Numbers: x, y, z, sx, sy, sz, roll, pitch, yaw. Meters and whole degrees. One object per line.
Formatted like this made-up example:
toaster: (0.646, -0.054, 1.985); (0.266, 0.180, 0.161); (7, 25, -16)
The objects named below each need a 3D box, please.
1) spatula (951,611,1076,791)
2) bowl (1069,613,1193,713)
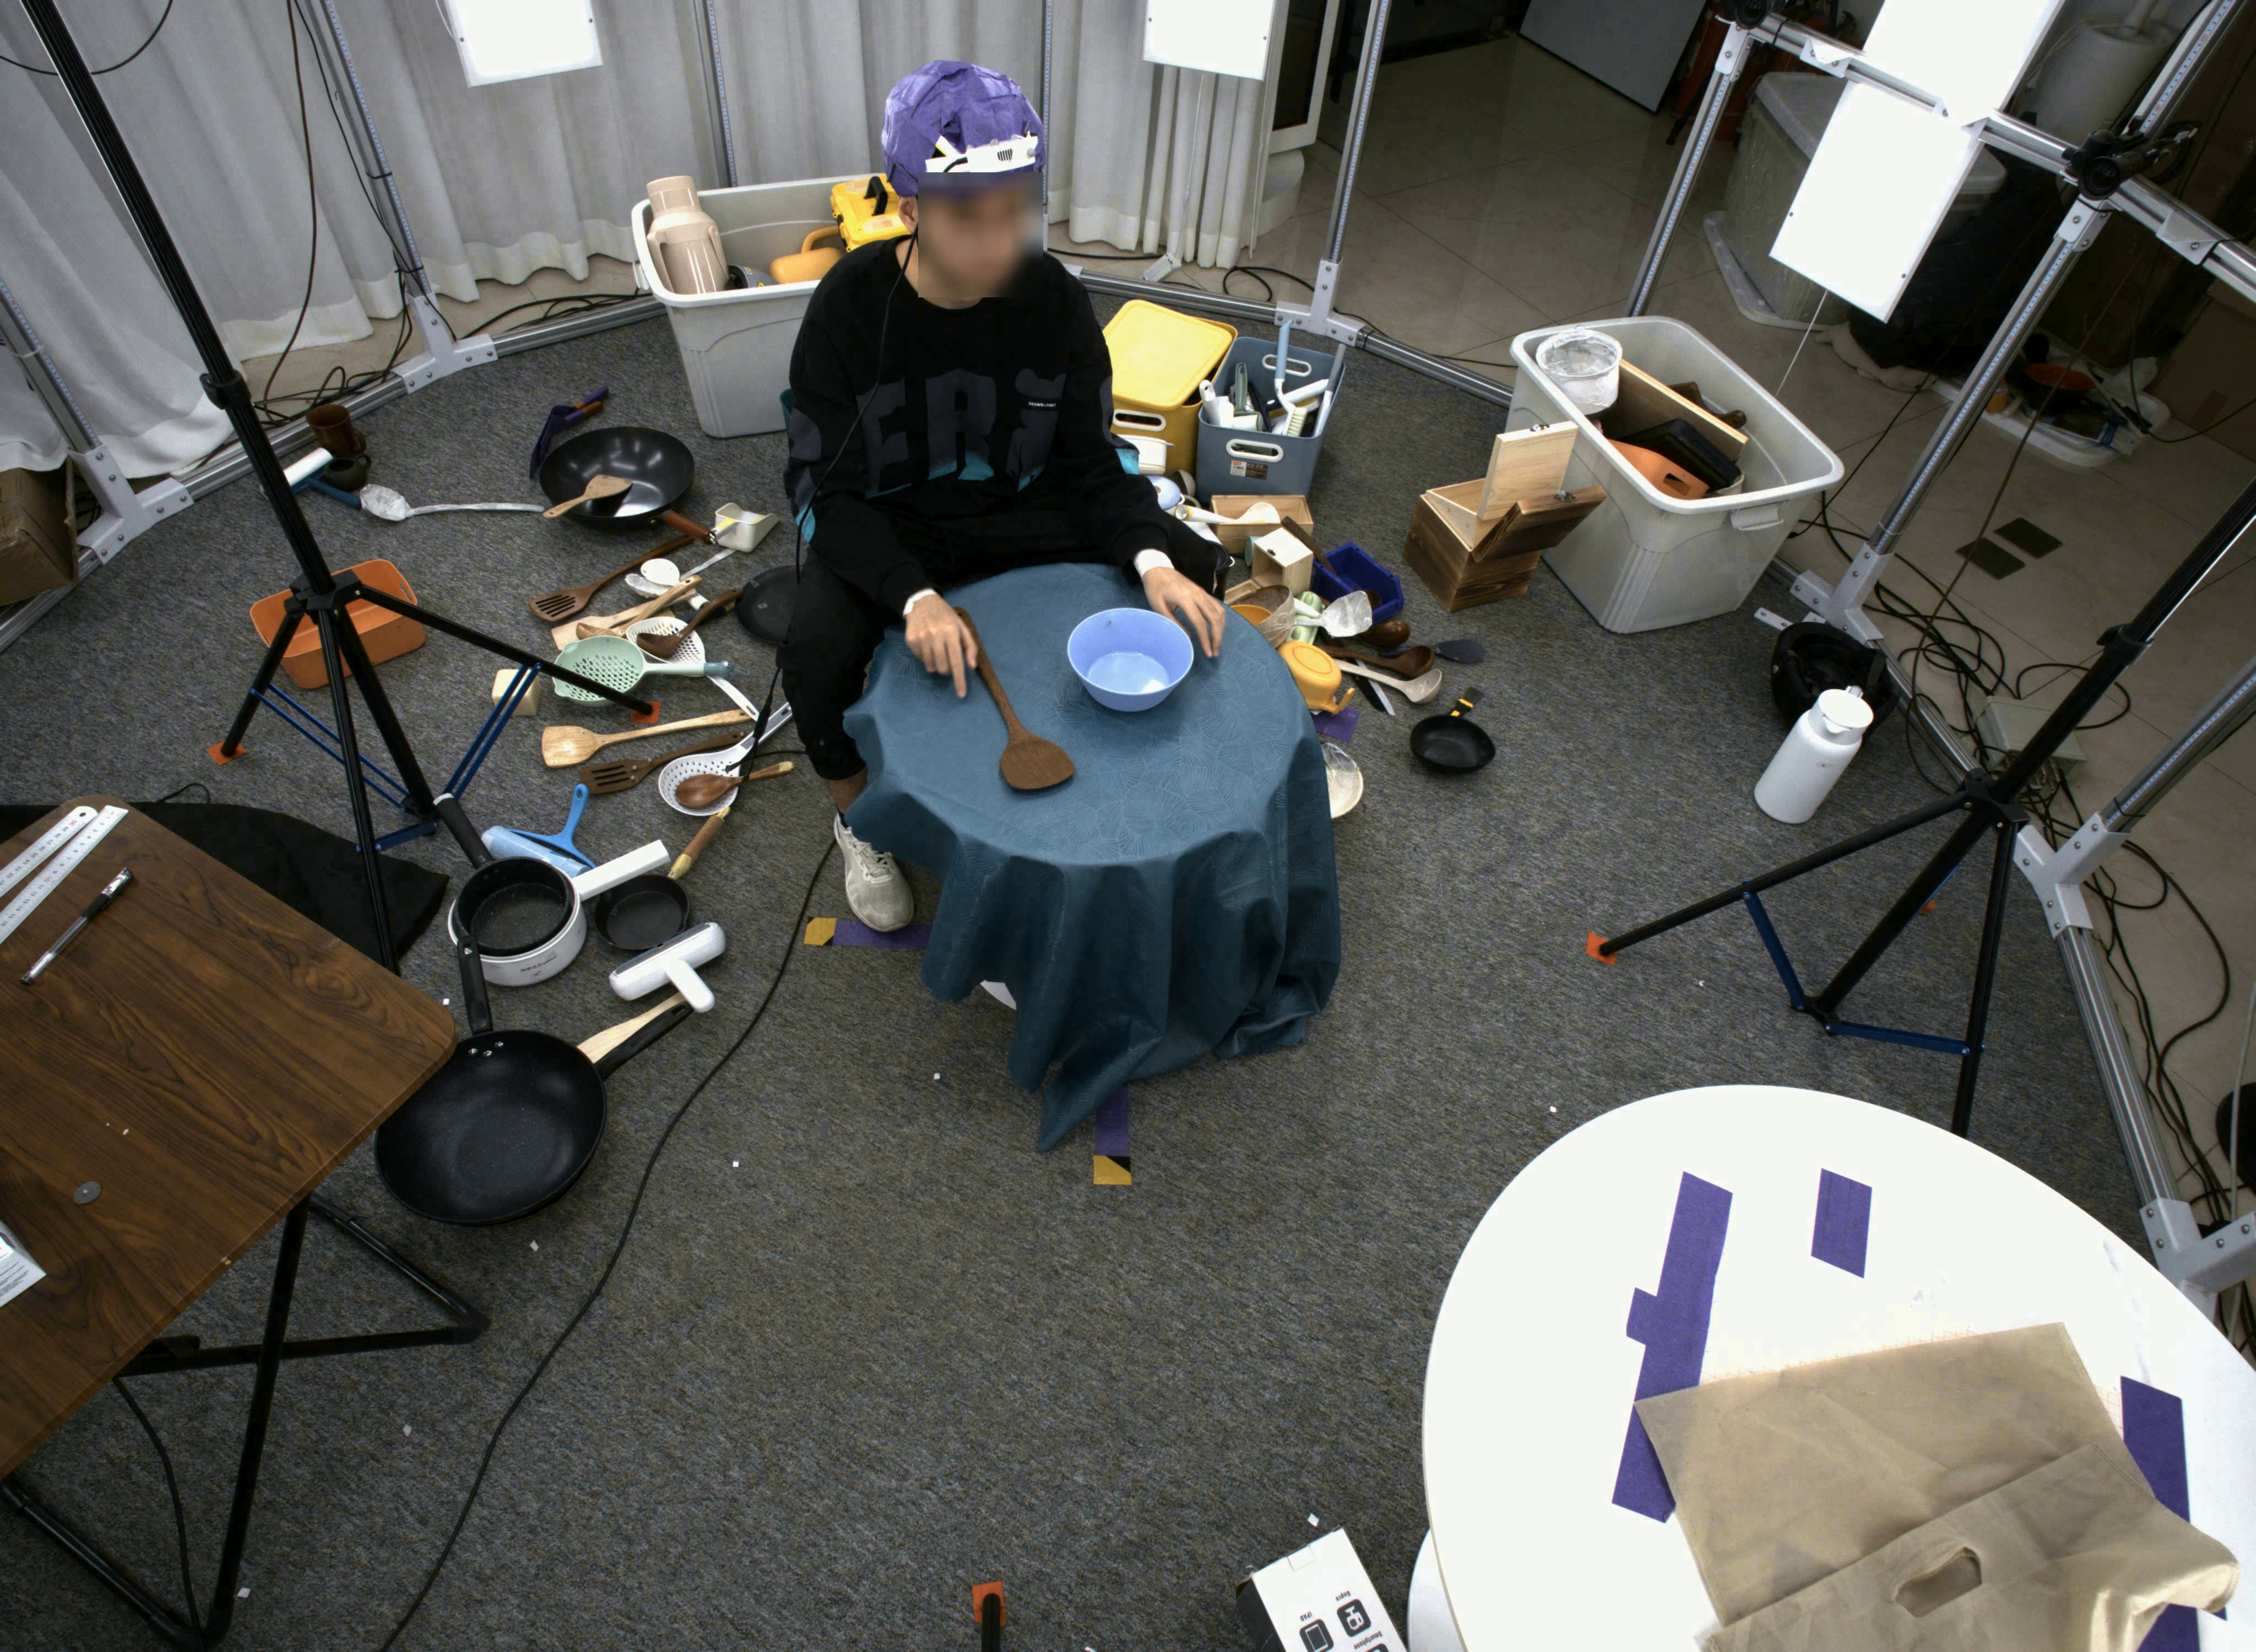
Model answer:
spatula: (-0.182, -0.188, 1.827); (0.096, 0.015, 0.395); (-15, 51, -17)
bowl: (0.003, -0.224, 1.835); (0.176, 0.068, 0.180); (2, 47, -2)
